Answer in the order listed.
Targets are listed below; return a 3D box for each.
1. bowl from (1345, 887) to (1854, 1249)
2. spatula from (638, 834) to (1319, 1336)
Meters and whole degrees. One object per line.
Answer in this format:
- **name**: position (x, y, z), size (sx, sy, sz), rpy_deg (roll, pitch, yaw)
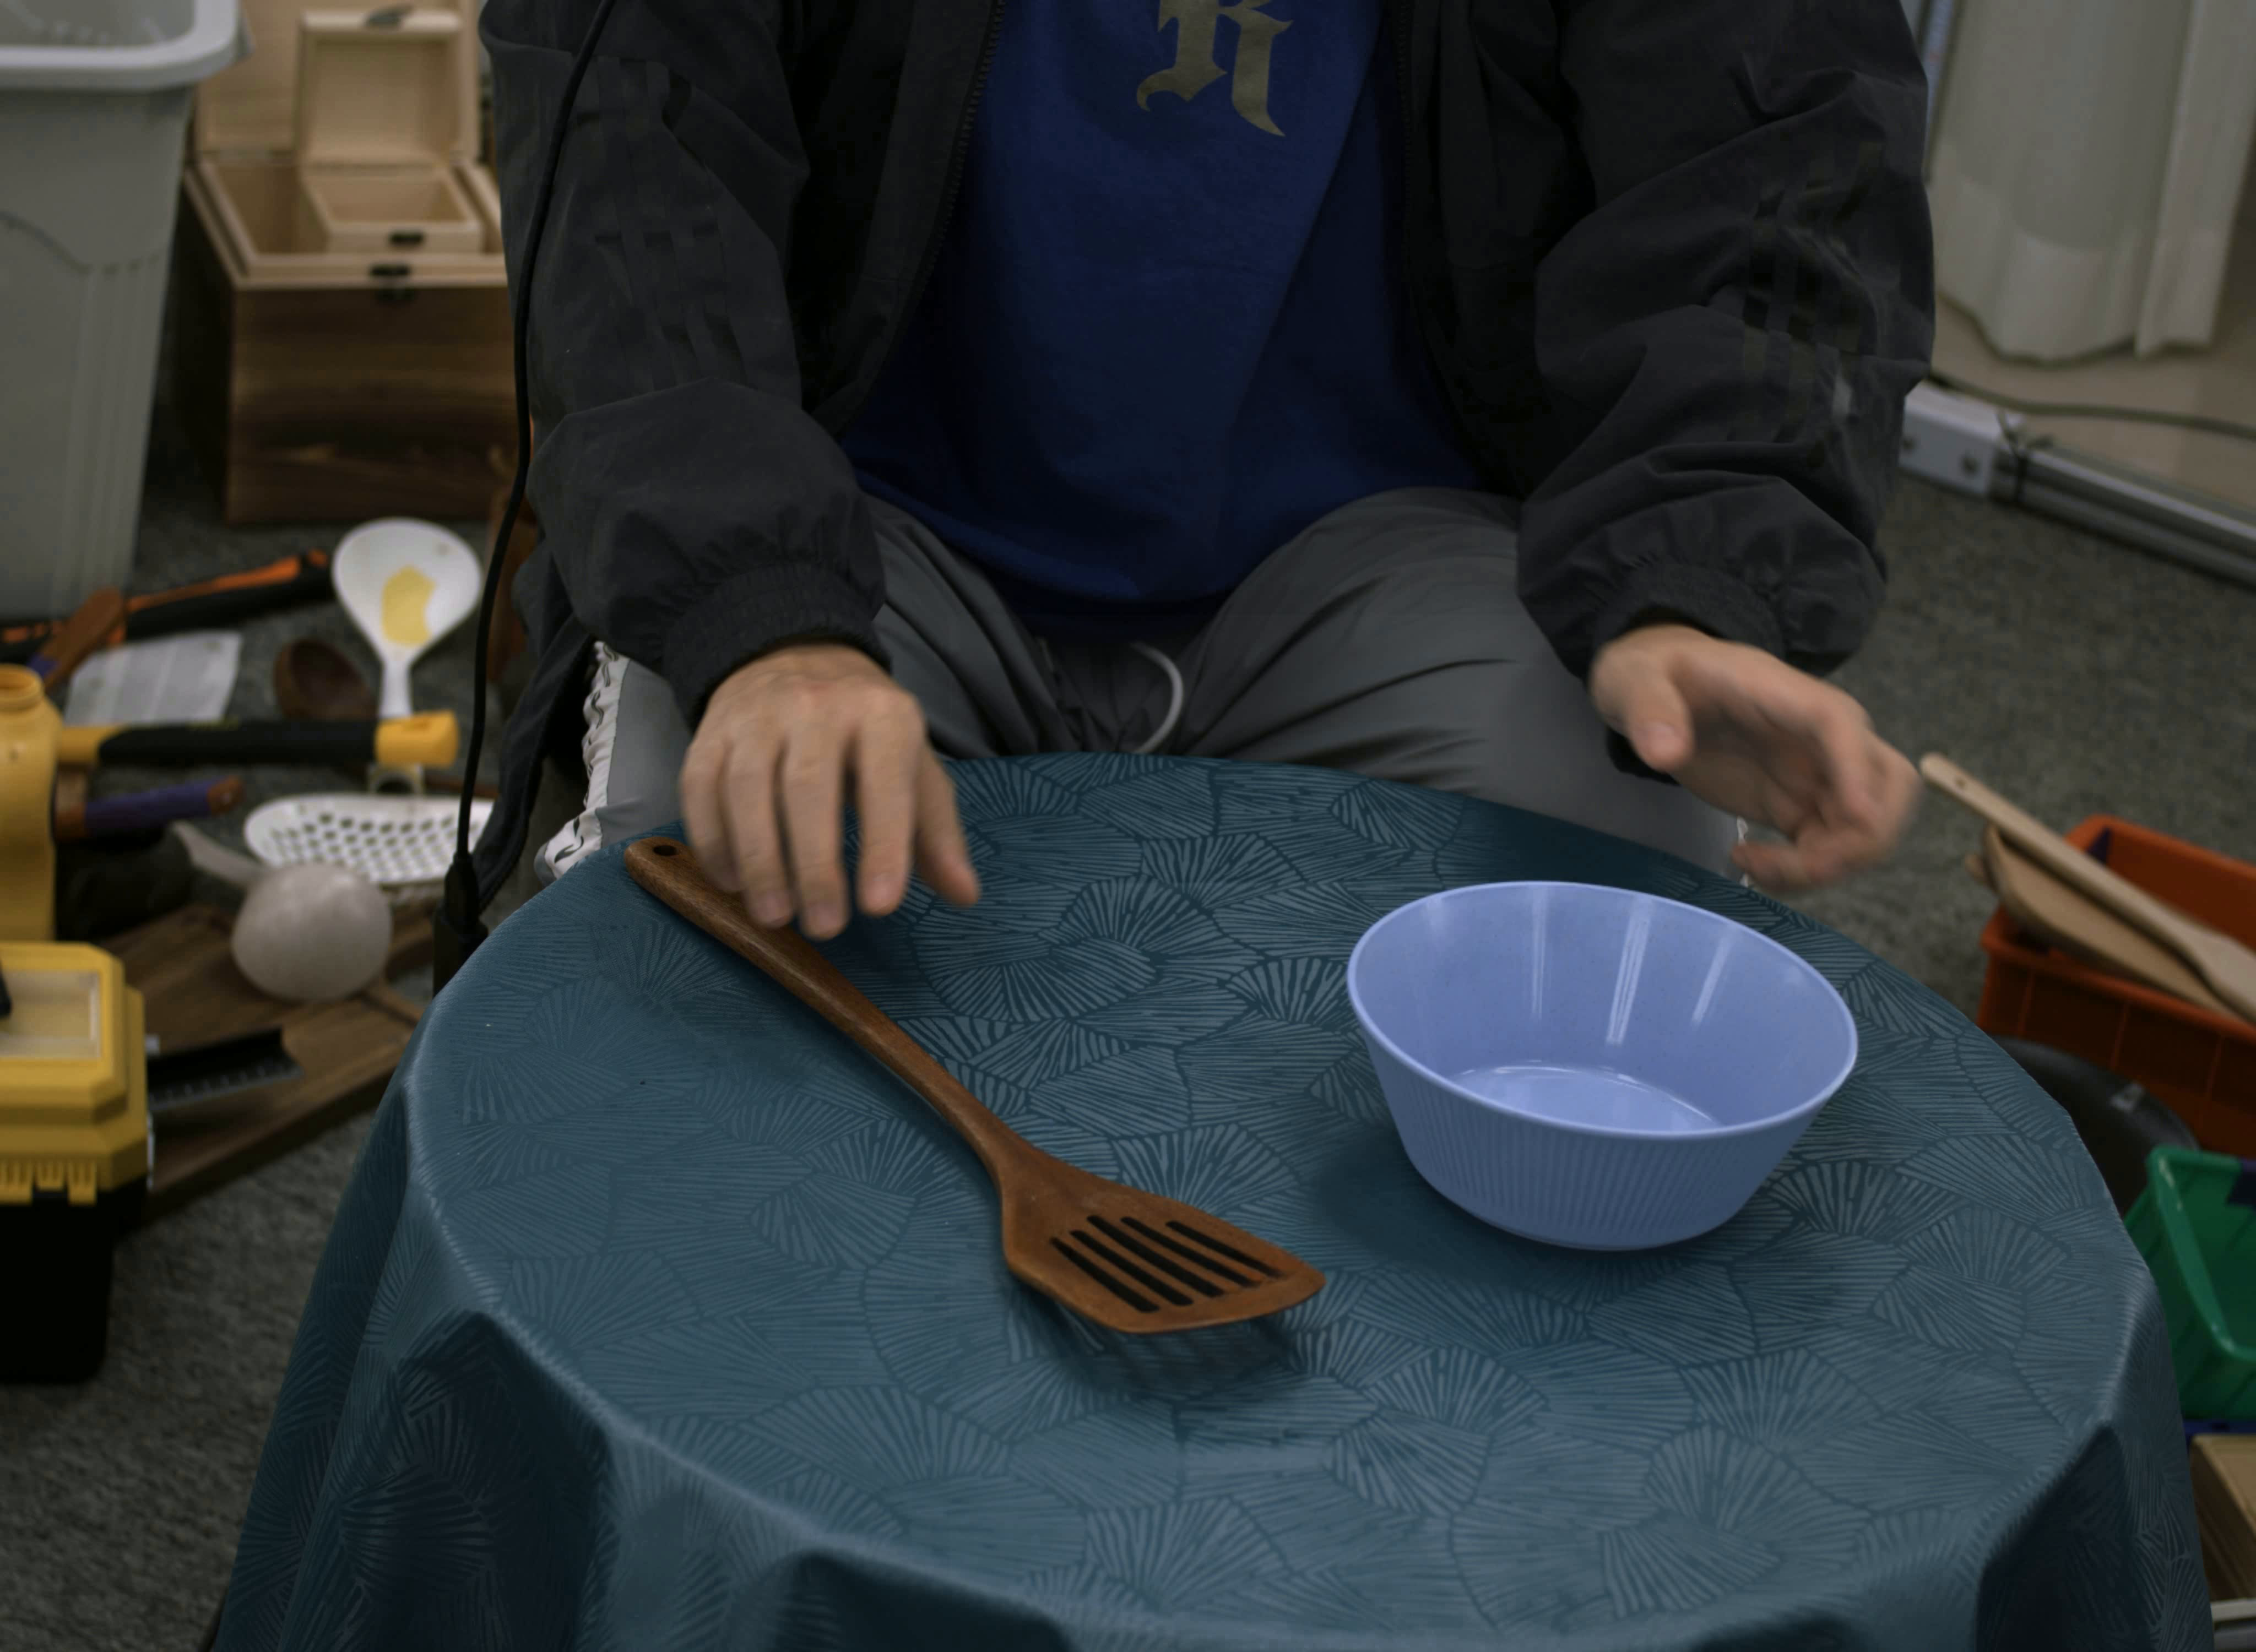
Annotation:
- **bowl**: position (0.158, 0.089, 1.829), size (0.175, 0.070, 0.177), rpy_deg (5, 26, -3)
- **spatula**: position (-0.071, 0.087, 1.838), size (0.085, 0.024, 0.390), rpy_deg (-10, 30, -32)
